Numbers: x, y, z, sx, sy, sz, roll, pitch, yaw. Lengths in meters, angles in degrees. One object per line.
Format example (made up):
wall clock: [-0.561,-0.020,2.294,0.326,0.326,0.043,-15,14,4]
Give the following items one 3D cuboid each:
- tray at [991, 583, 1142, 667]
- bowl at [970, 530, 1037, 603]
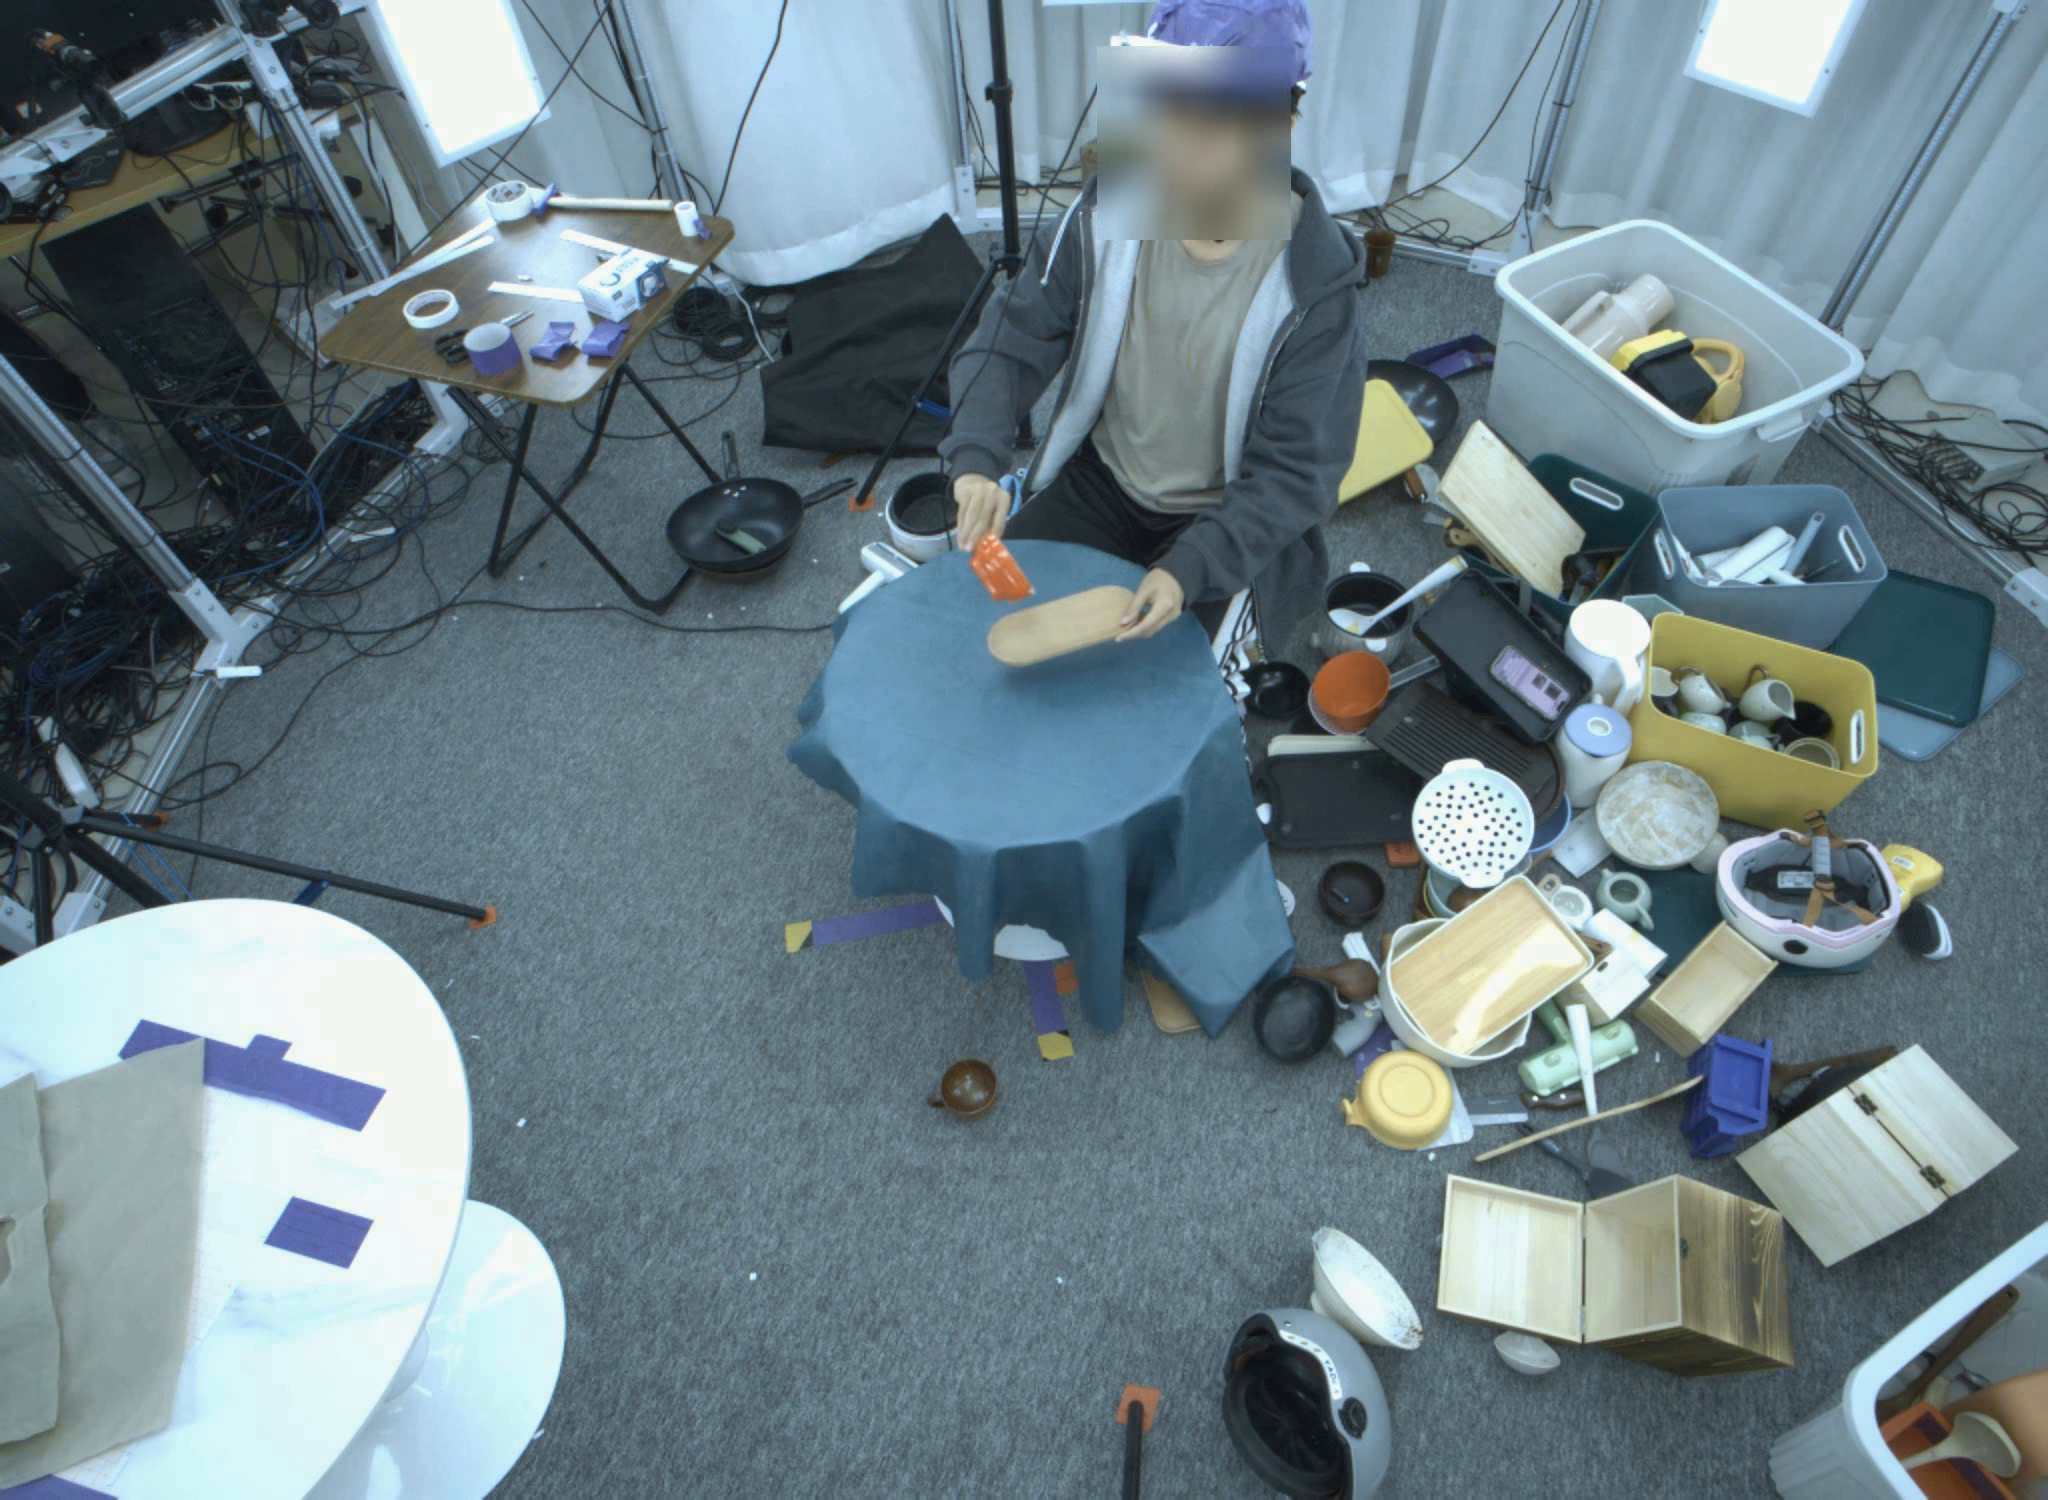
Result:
tray: [0.062,-0.184,1.818,0.231,0.020,0.100,-17,54,-1]
bowl: [-0.036,-0.248,1.712,0.051,0.121,0.116,-36,59,2]
